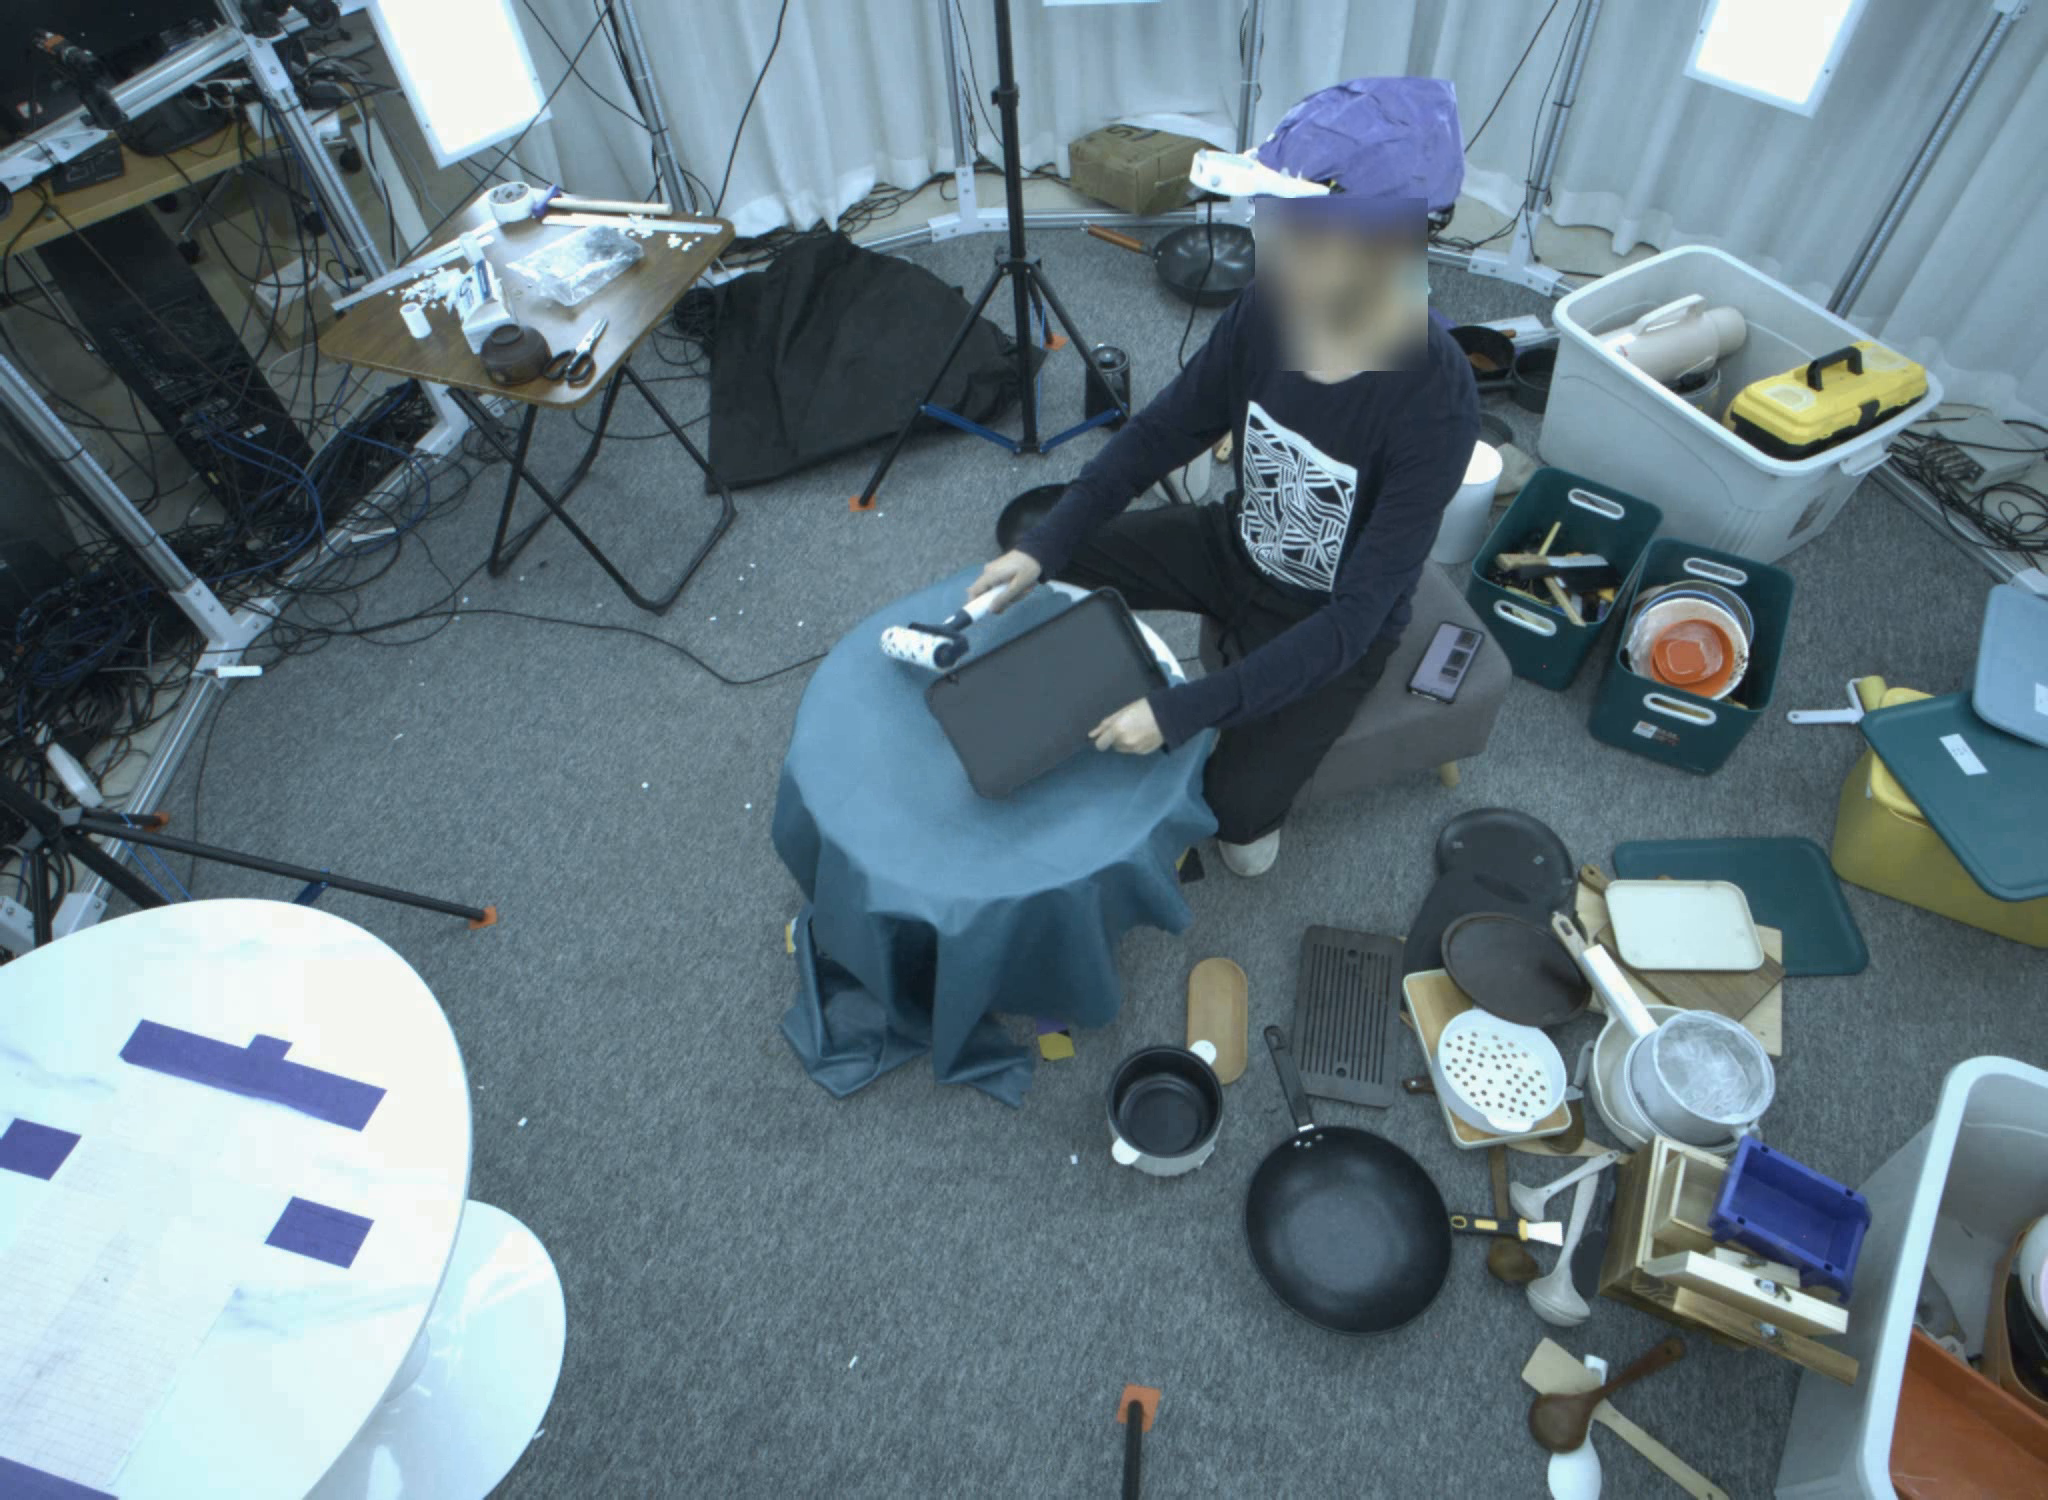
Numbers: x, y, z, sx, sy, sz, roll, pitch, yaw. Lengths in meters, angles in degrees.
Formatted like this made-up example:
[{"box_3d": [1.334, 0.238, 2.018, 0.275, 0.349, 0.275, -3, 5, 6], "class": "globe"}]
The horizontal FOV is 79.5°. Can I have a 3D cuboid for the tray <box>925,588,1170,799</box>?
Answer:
[{"box_3d": [0.034, -0.079, 1.710, 0.320, 0.036, 0.185, -30, 94, -17], "class": "tray"}]

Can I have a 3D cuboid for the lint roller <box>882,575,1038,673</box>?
[{"box_3d": [-0.081, -0.205, 1.859, 0.249, 0.051, 0.172, -37, 31, -22], "class": "lint roller"}]
